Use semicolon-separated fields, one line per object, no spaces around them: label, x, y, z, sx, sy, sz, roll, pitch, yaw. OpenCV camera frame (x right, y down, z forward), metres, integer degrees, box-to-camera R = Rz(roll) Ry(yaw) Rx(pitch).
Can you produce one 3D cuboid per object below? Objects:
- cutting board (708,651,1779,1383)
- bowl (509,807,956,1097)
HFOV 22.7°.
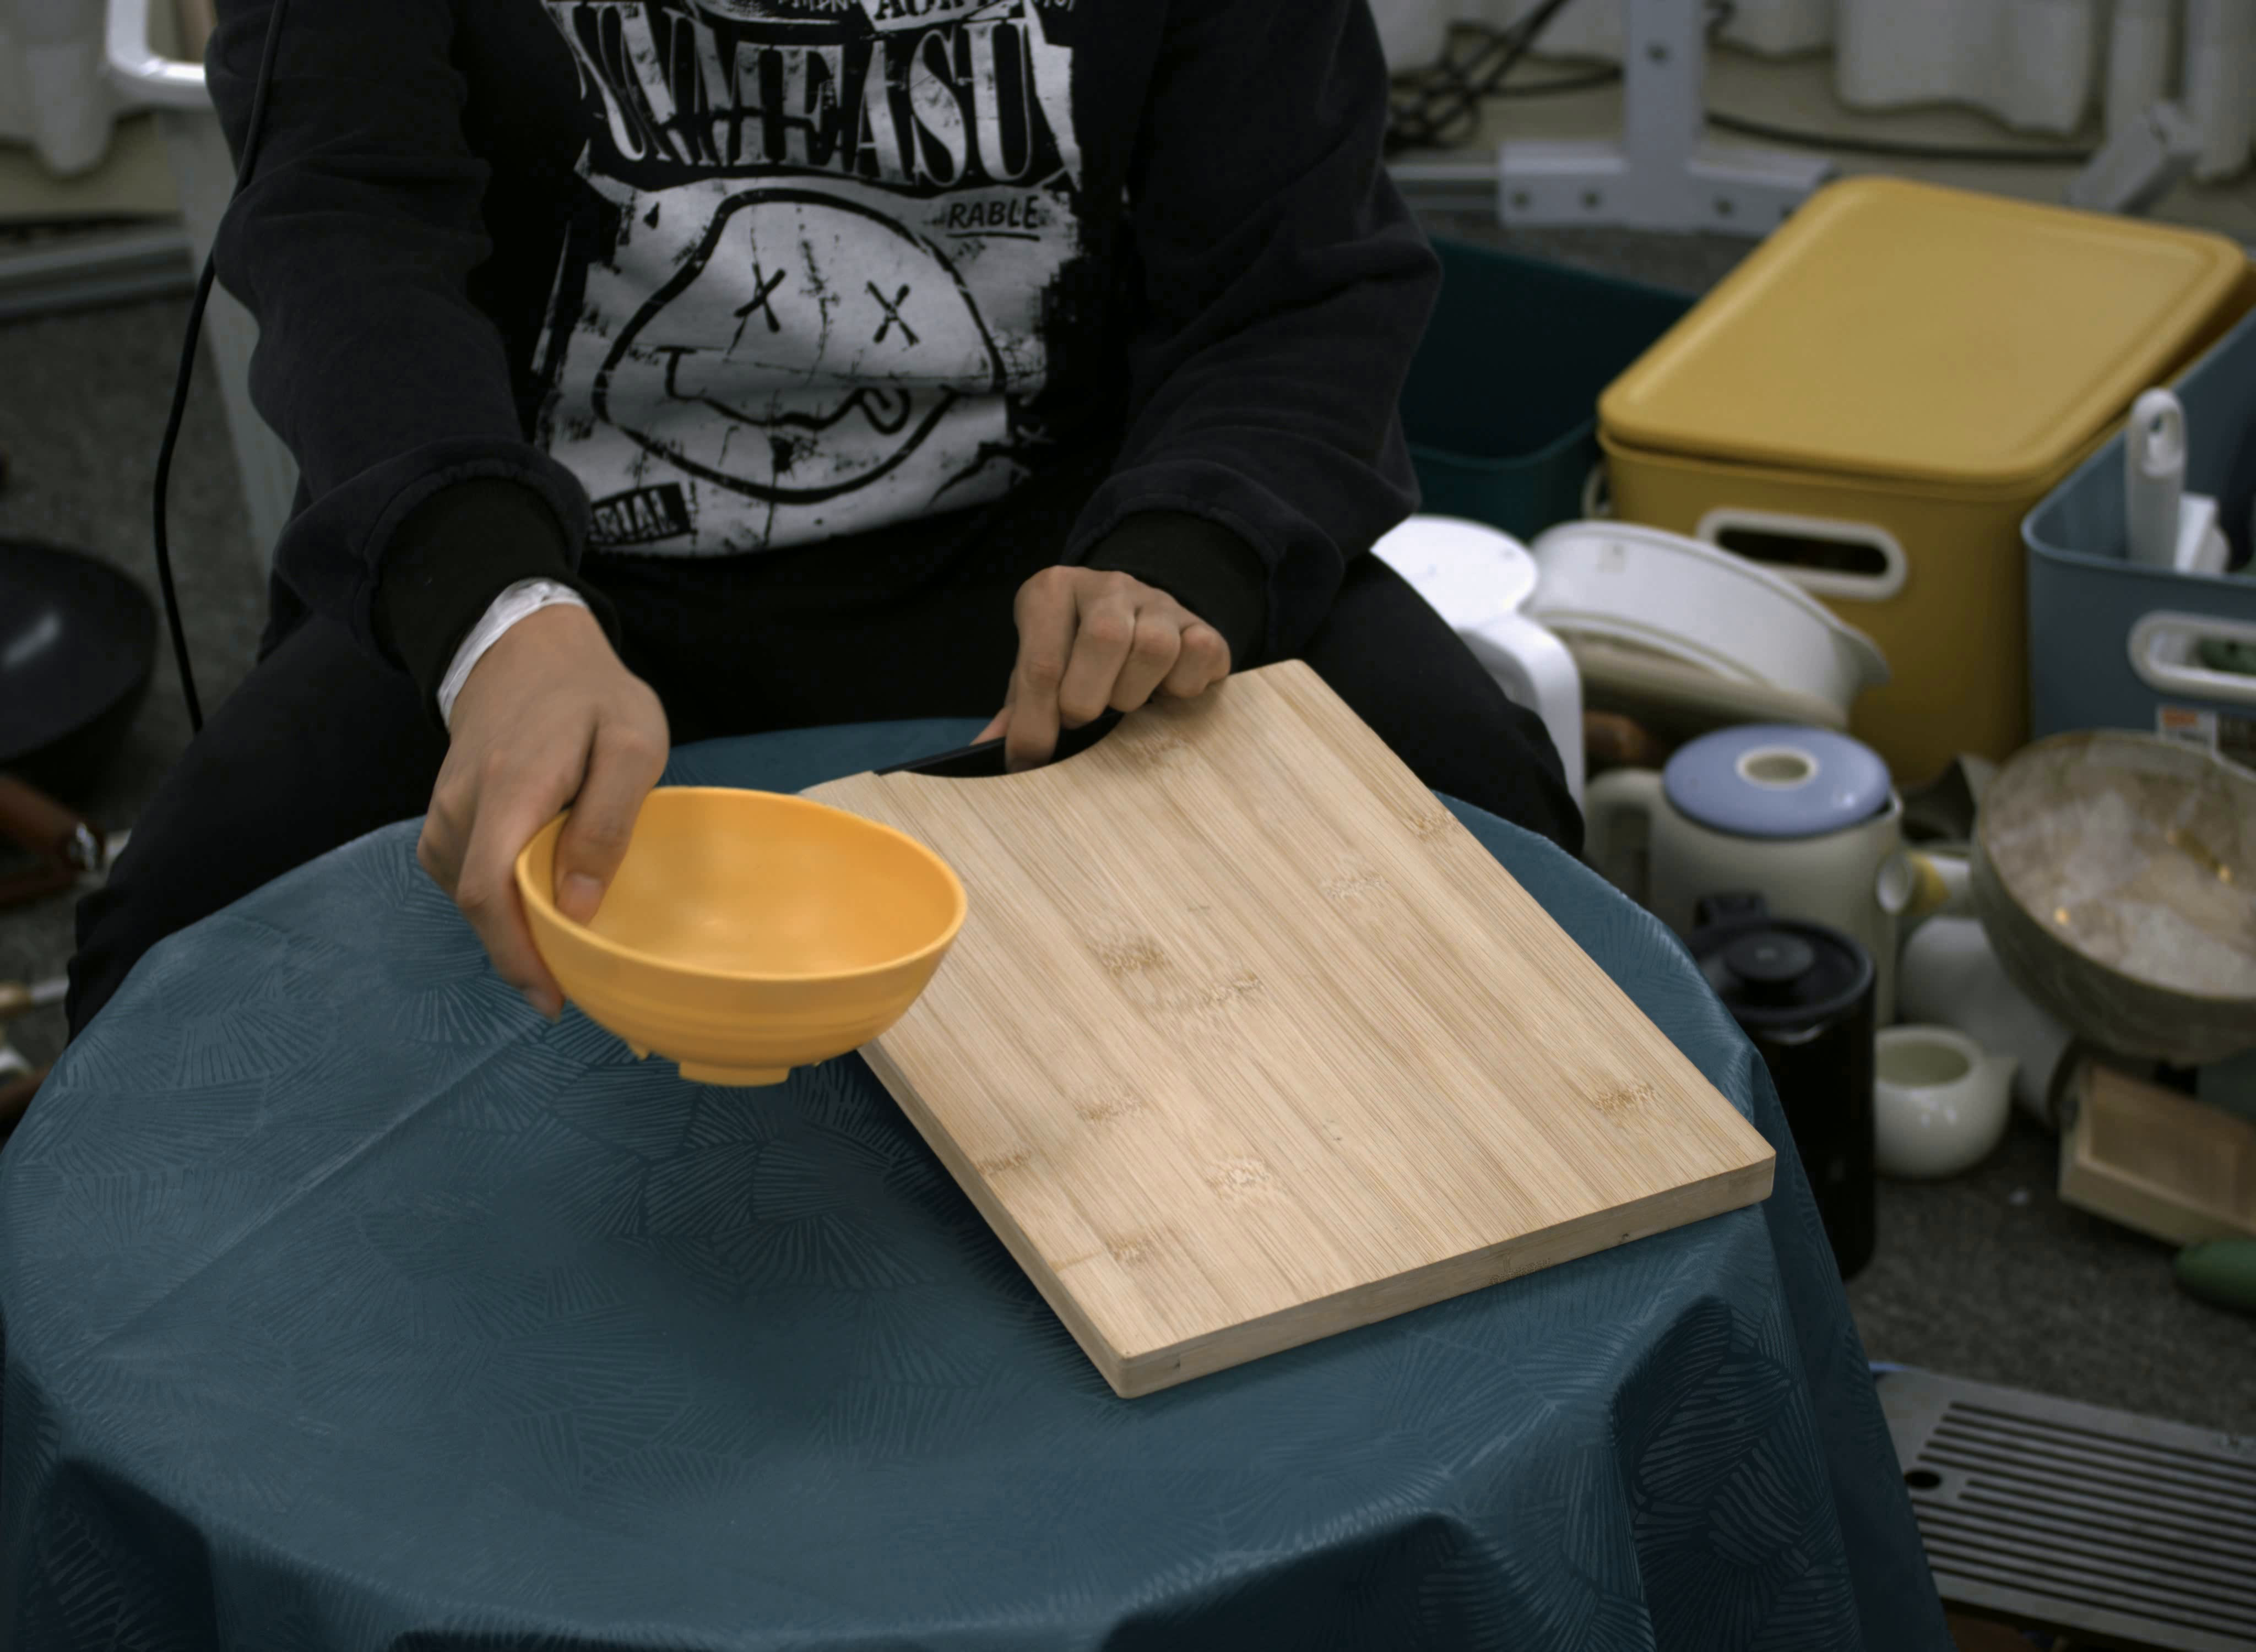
cutting board;0.031;0.057;1.924;0.252;0.023;0.351;-15;36;-23
bowl;-0.130;0.047;1.807;0.145;0.059;0.147;7;20;-2
